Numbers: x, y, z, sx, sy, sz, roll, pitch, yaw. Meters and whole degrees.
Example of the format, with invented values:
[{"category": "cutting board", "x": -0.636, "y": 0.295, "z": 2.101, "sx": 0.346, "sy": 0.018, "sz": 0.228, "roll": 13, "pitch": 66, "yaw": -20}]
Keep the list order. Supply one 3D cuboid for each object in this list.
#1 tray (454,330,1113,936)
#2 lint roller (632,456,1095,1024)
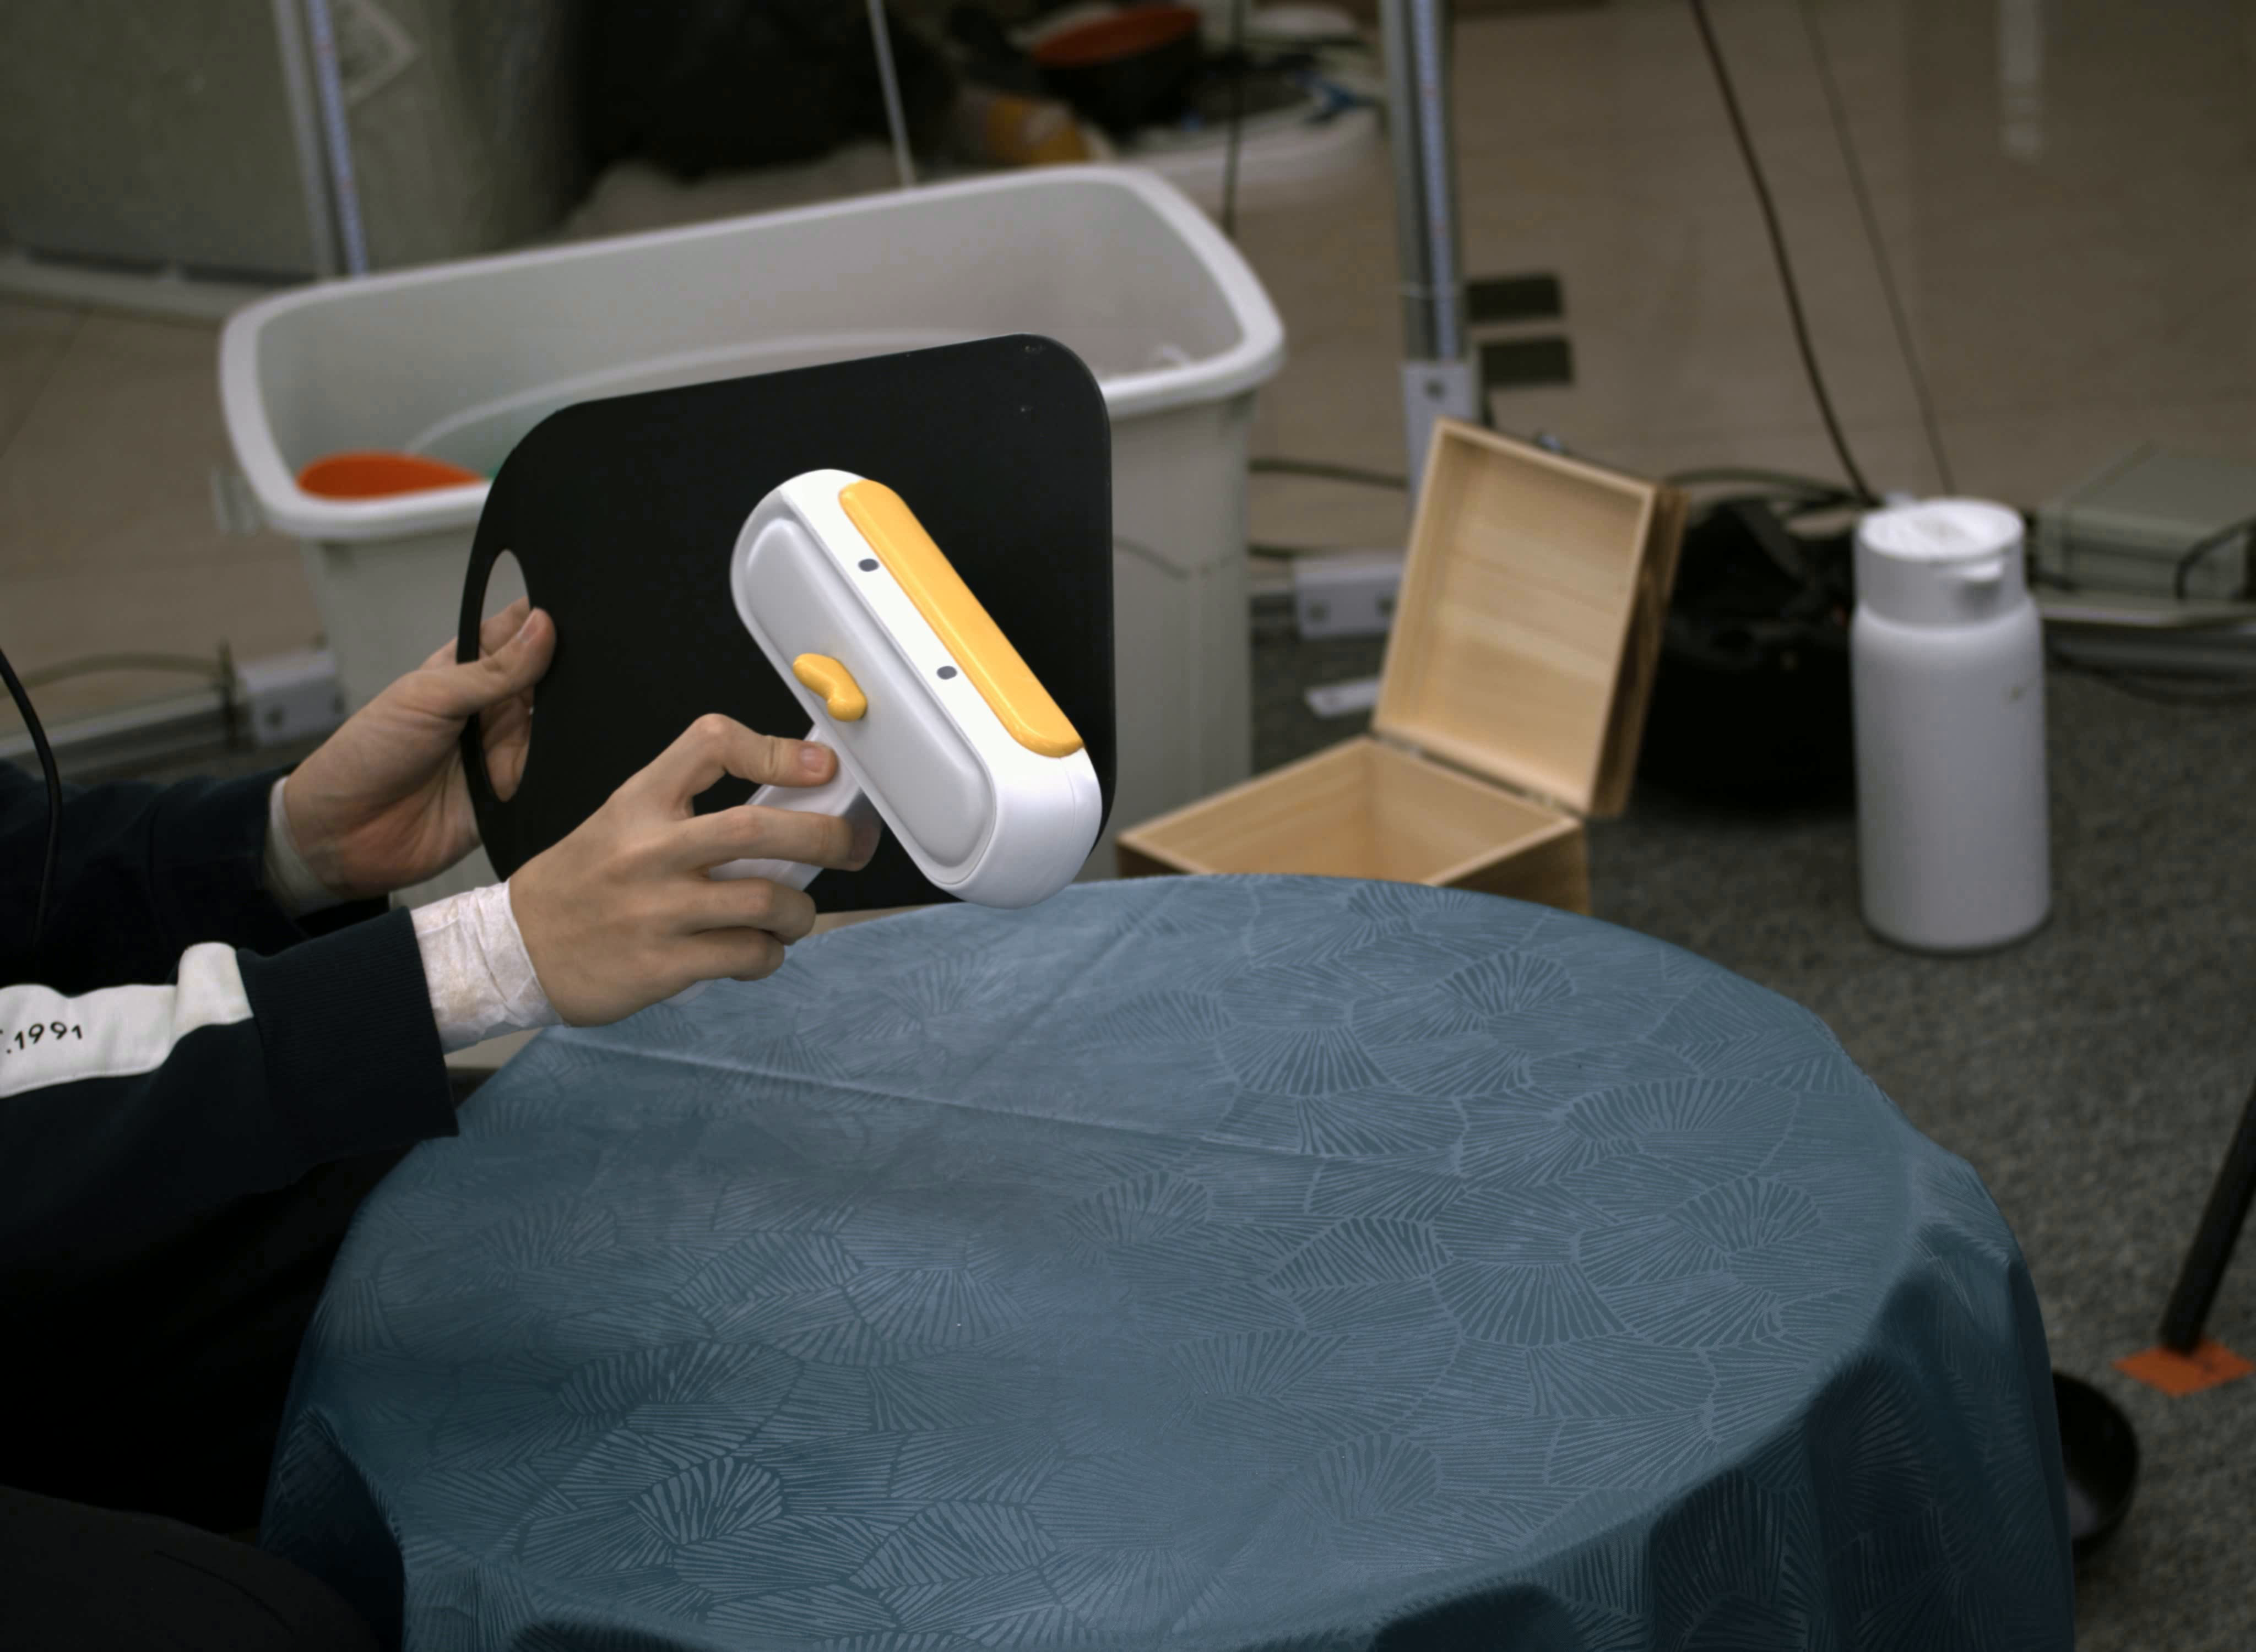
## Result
[{"category": "tray", "x": -0.136, "y": -0.070, "z": 2.147, "sx": 0.325, "sy": 0.211, "sz": 0.010, "roll": -5, "pitch": -6, "yaw": 37}, {"category": "lint roller", "x": -0.112, "y": -0.010, "z": 2.038, "sx": 0.074, "sy": 0.195, "sz": 0.190, "roll": -2, "pitch": 41, "yaw": -49}]
